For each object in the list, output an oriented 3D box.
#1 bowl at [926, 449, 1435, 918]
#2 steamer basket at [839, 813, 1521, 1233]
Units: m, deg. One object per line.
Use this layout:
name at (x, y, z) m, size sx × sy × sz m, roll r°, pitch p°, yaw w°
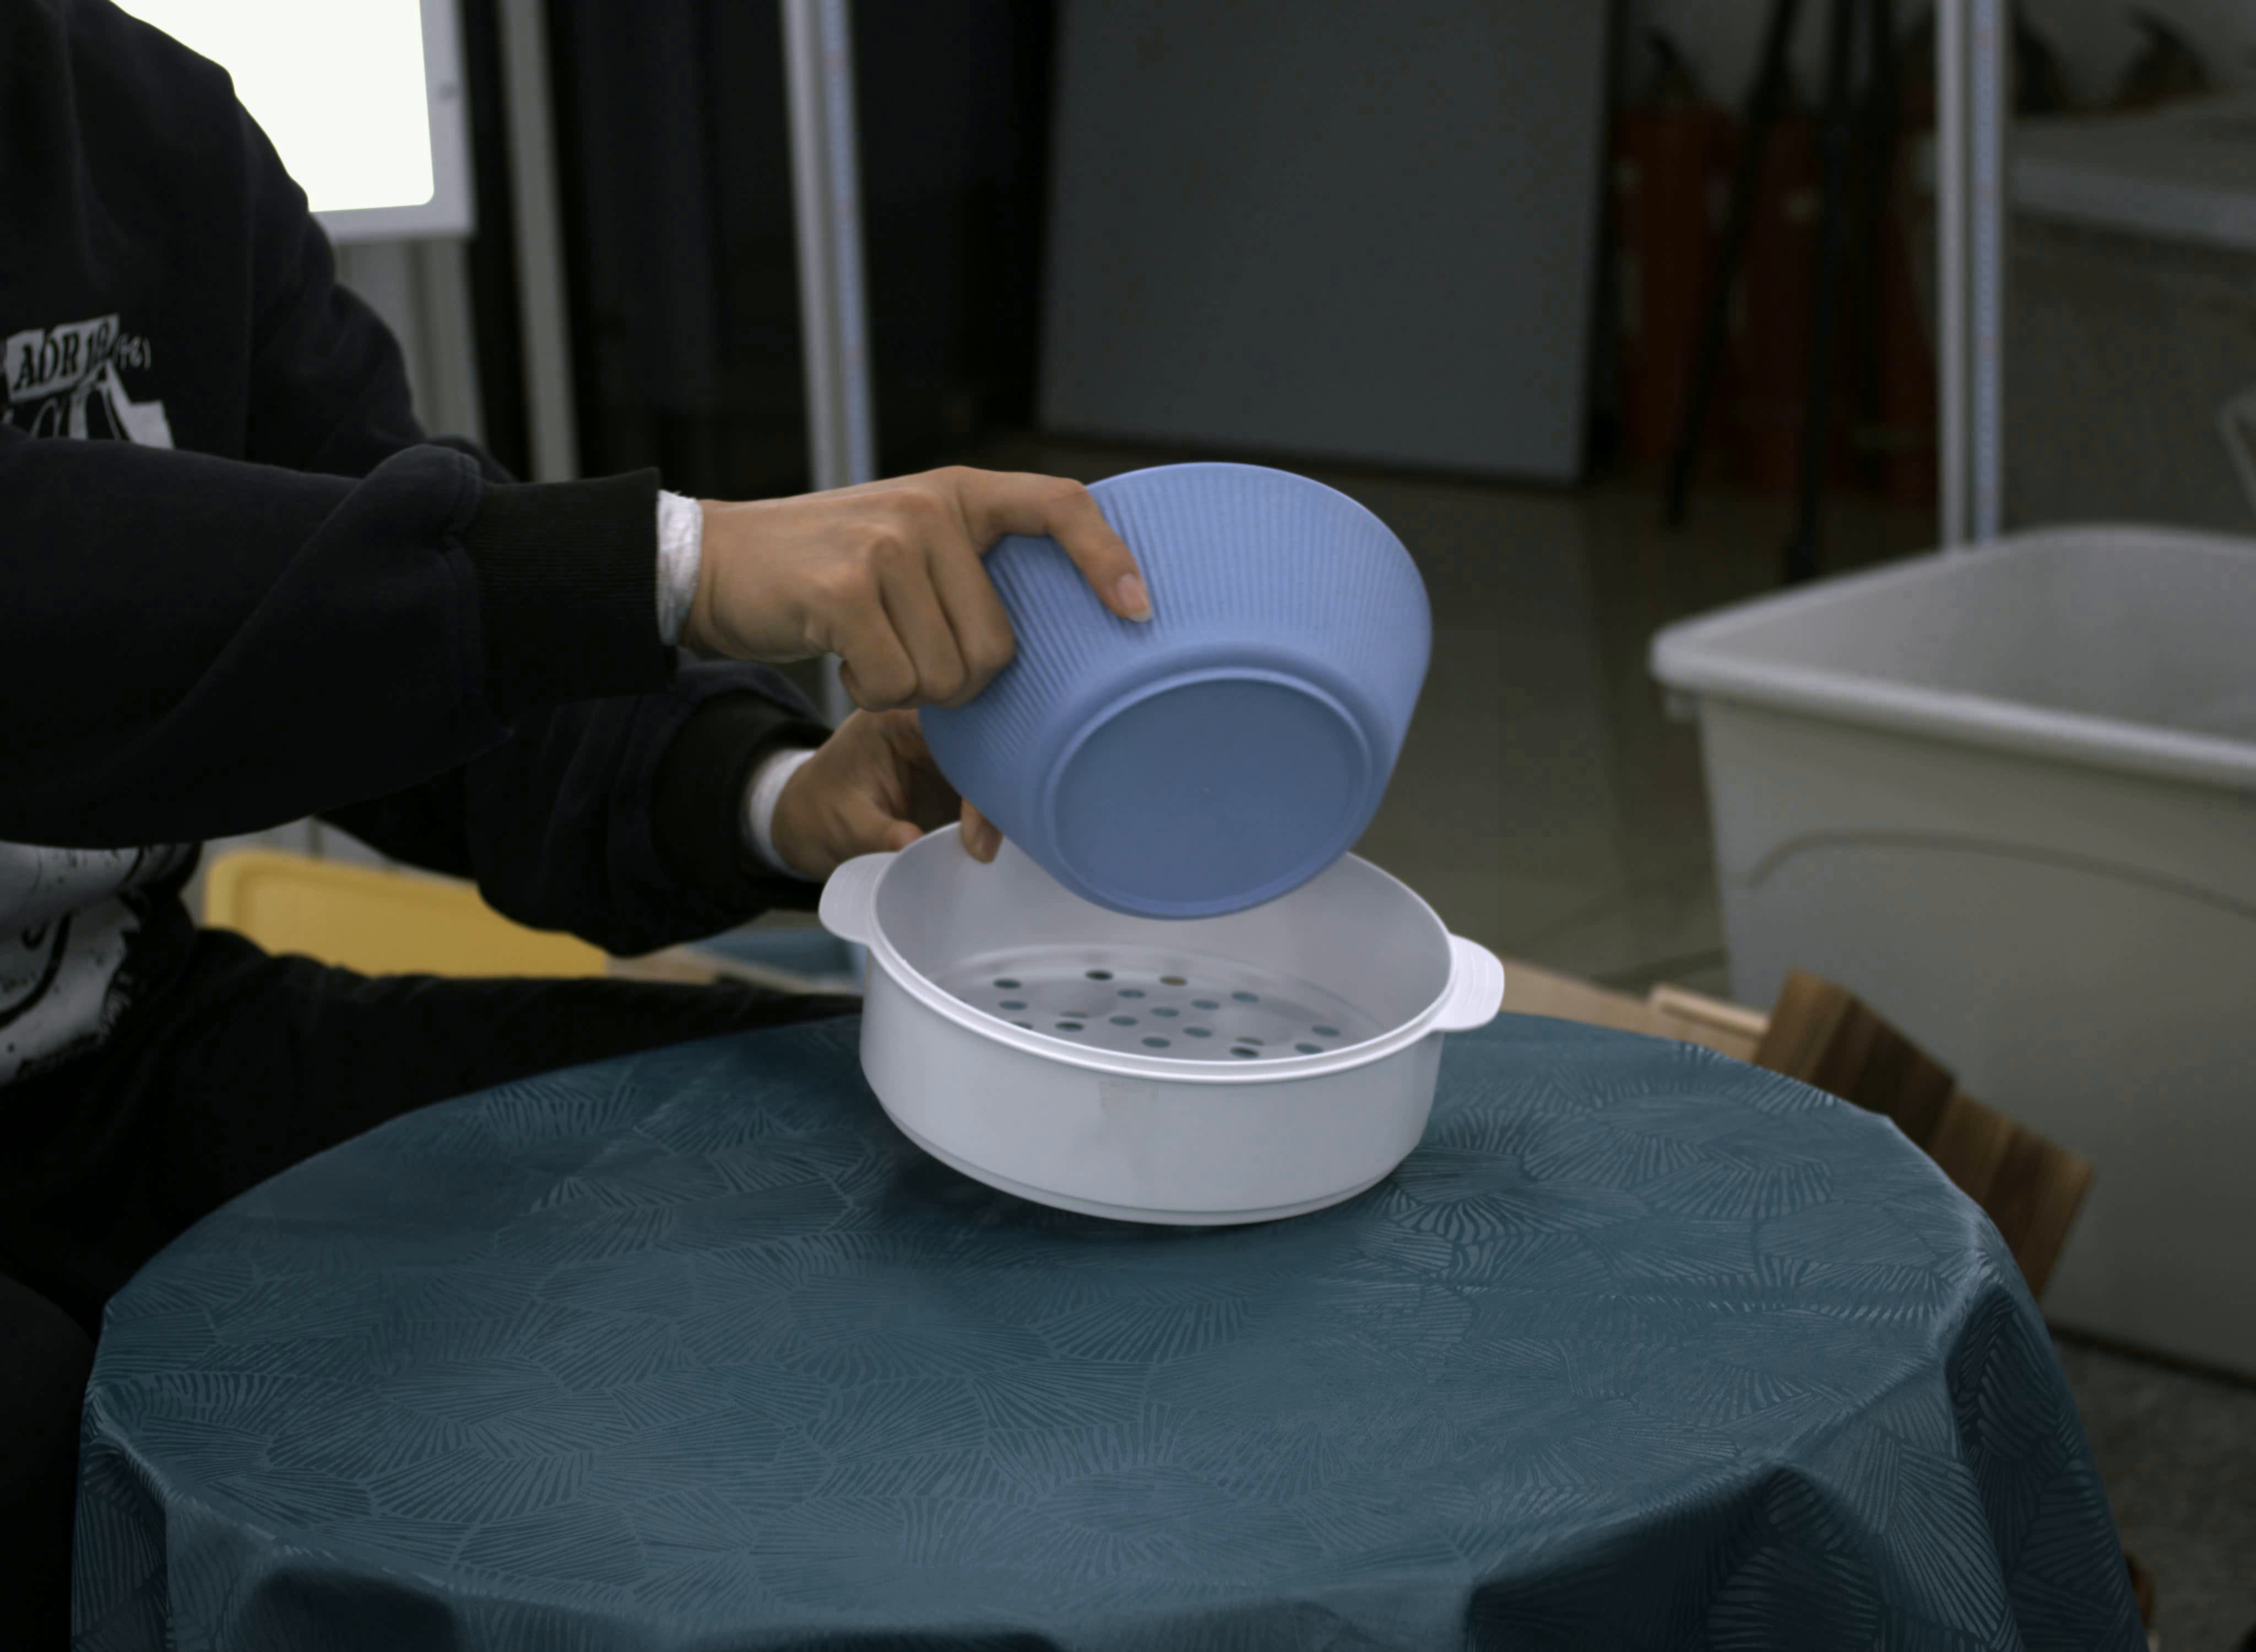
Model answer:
bowl at (0.023, -0.034, 1.775) m, size 0.173 × 0.177 × 0.071 m, roll -5°, pitch 42°, yaw -8°
steamer basket at (0.014, 0.063, 1.791) m, size 0.228 × 0.070 × 0.202 m, roll 10°, pitch 24°, yaw 4°
